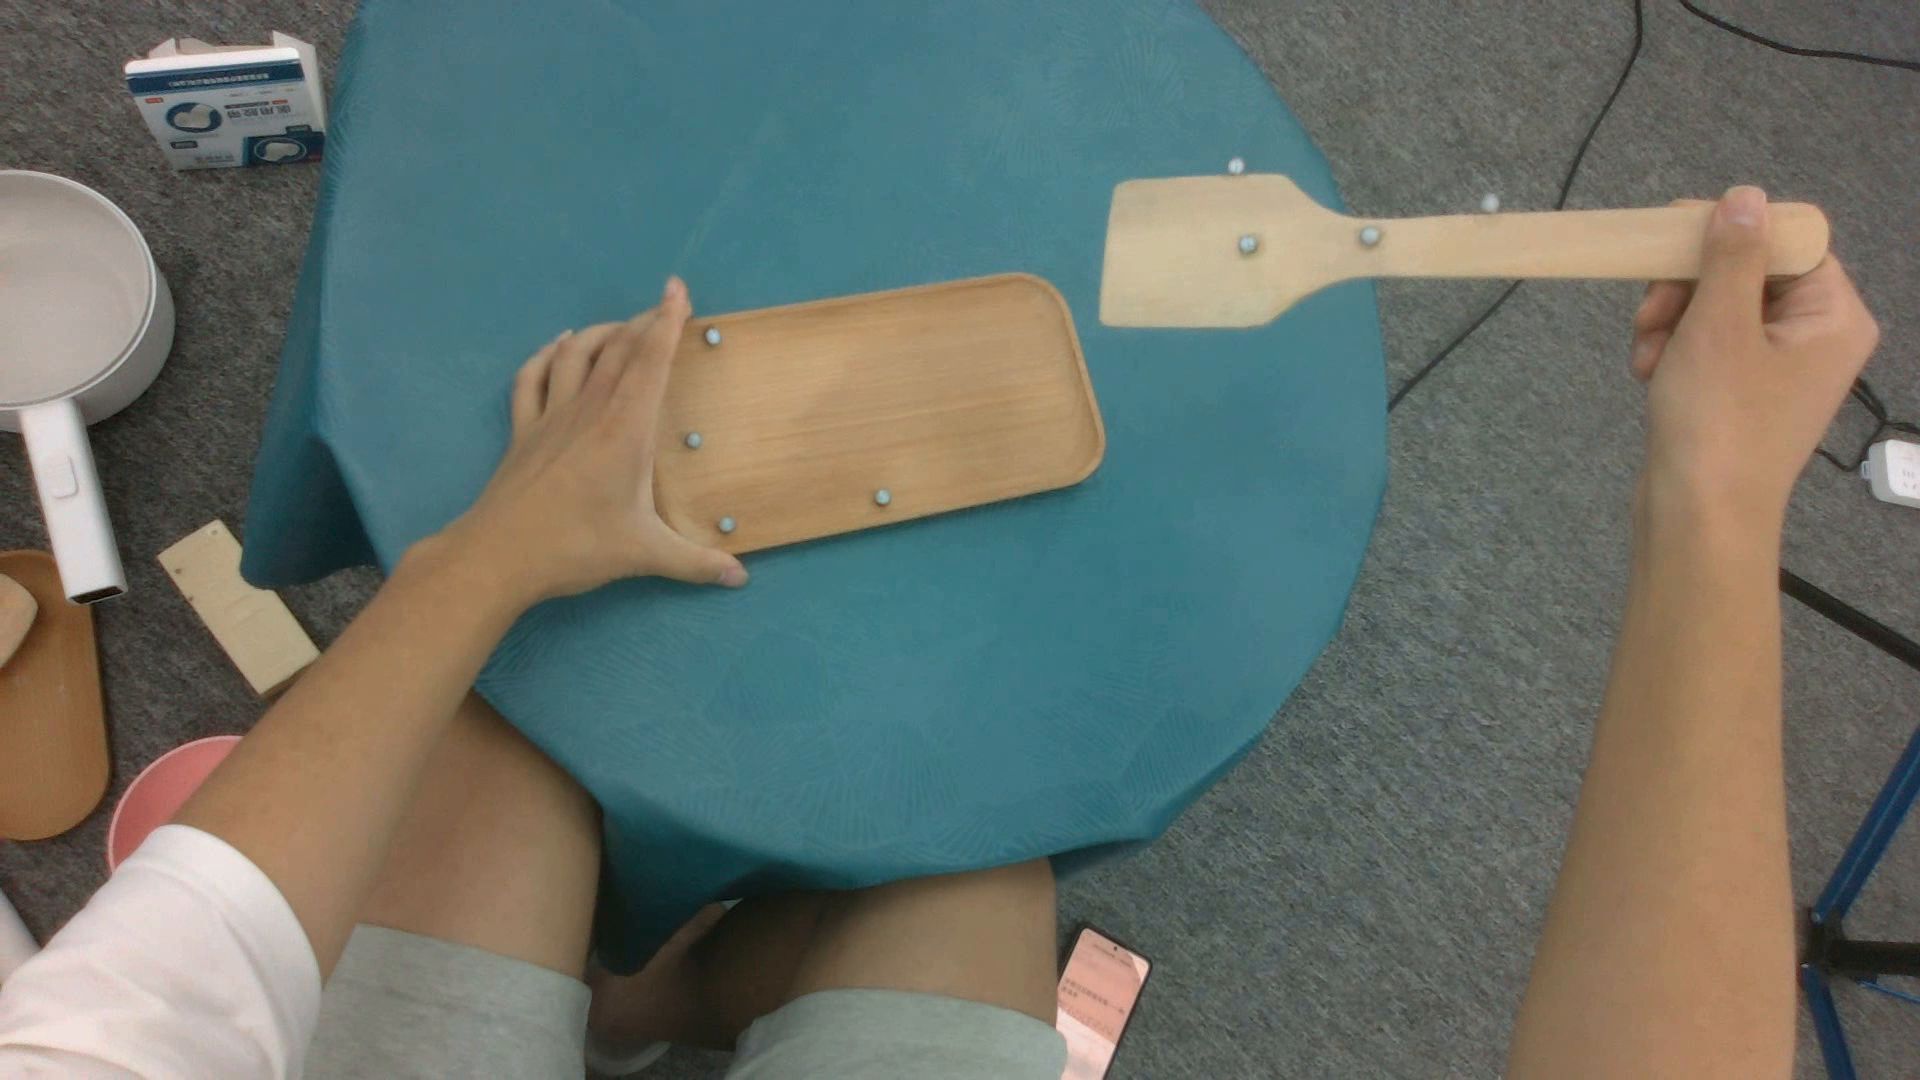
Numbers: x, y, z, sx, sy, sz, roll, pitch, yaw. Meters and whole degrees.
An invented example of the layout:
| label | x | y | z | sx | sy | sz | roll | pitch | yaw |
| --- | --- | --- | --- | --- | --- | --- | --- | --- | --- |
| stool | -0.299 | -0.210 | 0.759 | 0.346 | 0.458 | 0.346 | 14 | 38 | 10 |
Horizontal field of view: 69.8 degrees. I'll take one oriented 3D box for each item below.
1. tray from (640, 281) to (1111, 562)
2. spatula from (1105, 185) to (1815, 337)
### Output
| label | x | y | z | sx | sy | sz | roll | pitch | yaw |
| --- | --- | --- | --- | --- | --- | --- | --- | --- | --- |
| tray | -0.042 | -0.068 | 0.755 | 0.251 | 0.023 | 0.130 | -11 | 81 | -18 |
| spatula | 0.195 | -0.122 | 0.590 | 0.010 | 0.292 | 0.072 | 7 | 89 | -56 |
